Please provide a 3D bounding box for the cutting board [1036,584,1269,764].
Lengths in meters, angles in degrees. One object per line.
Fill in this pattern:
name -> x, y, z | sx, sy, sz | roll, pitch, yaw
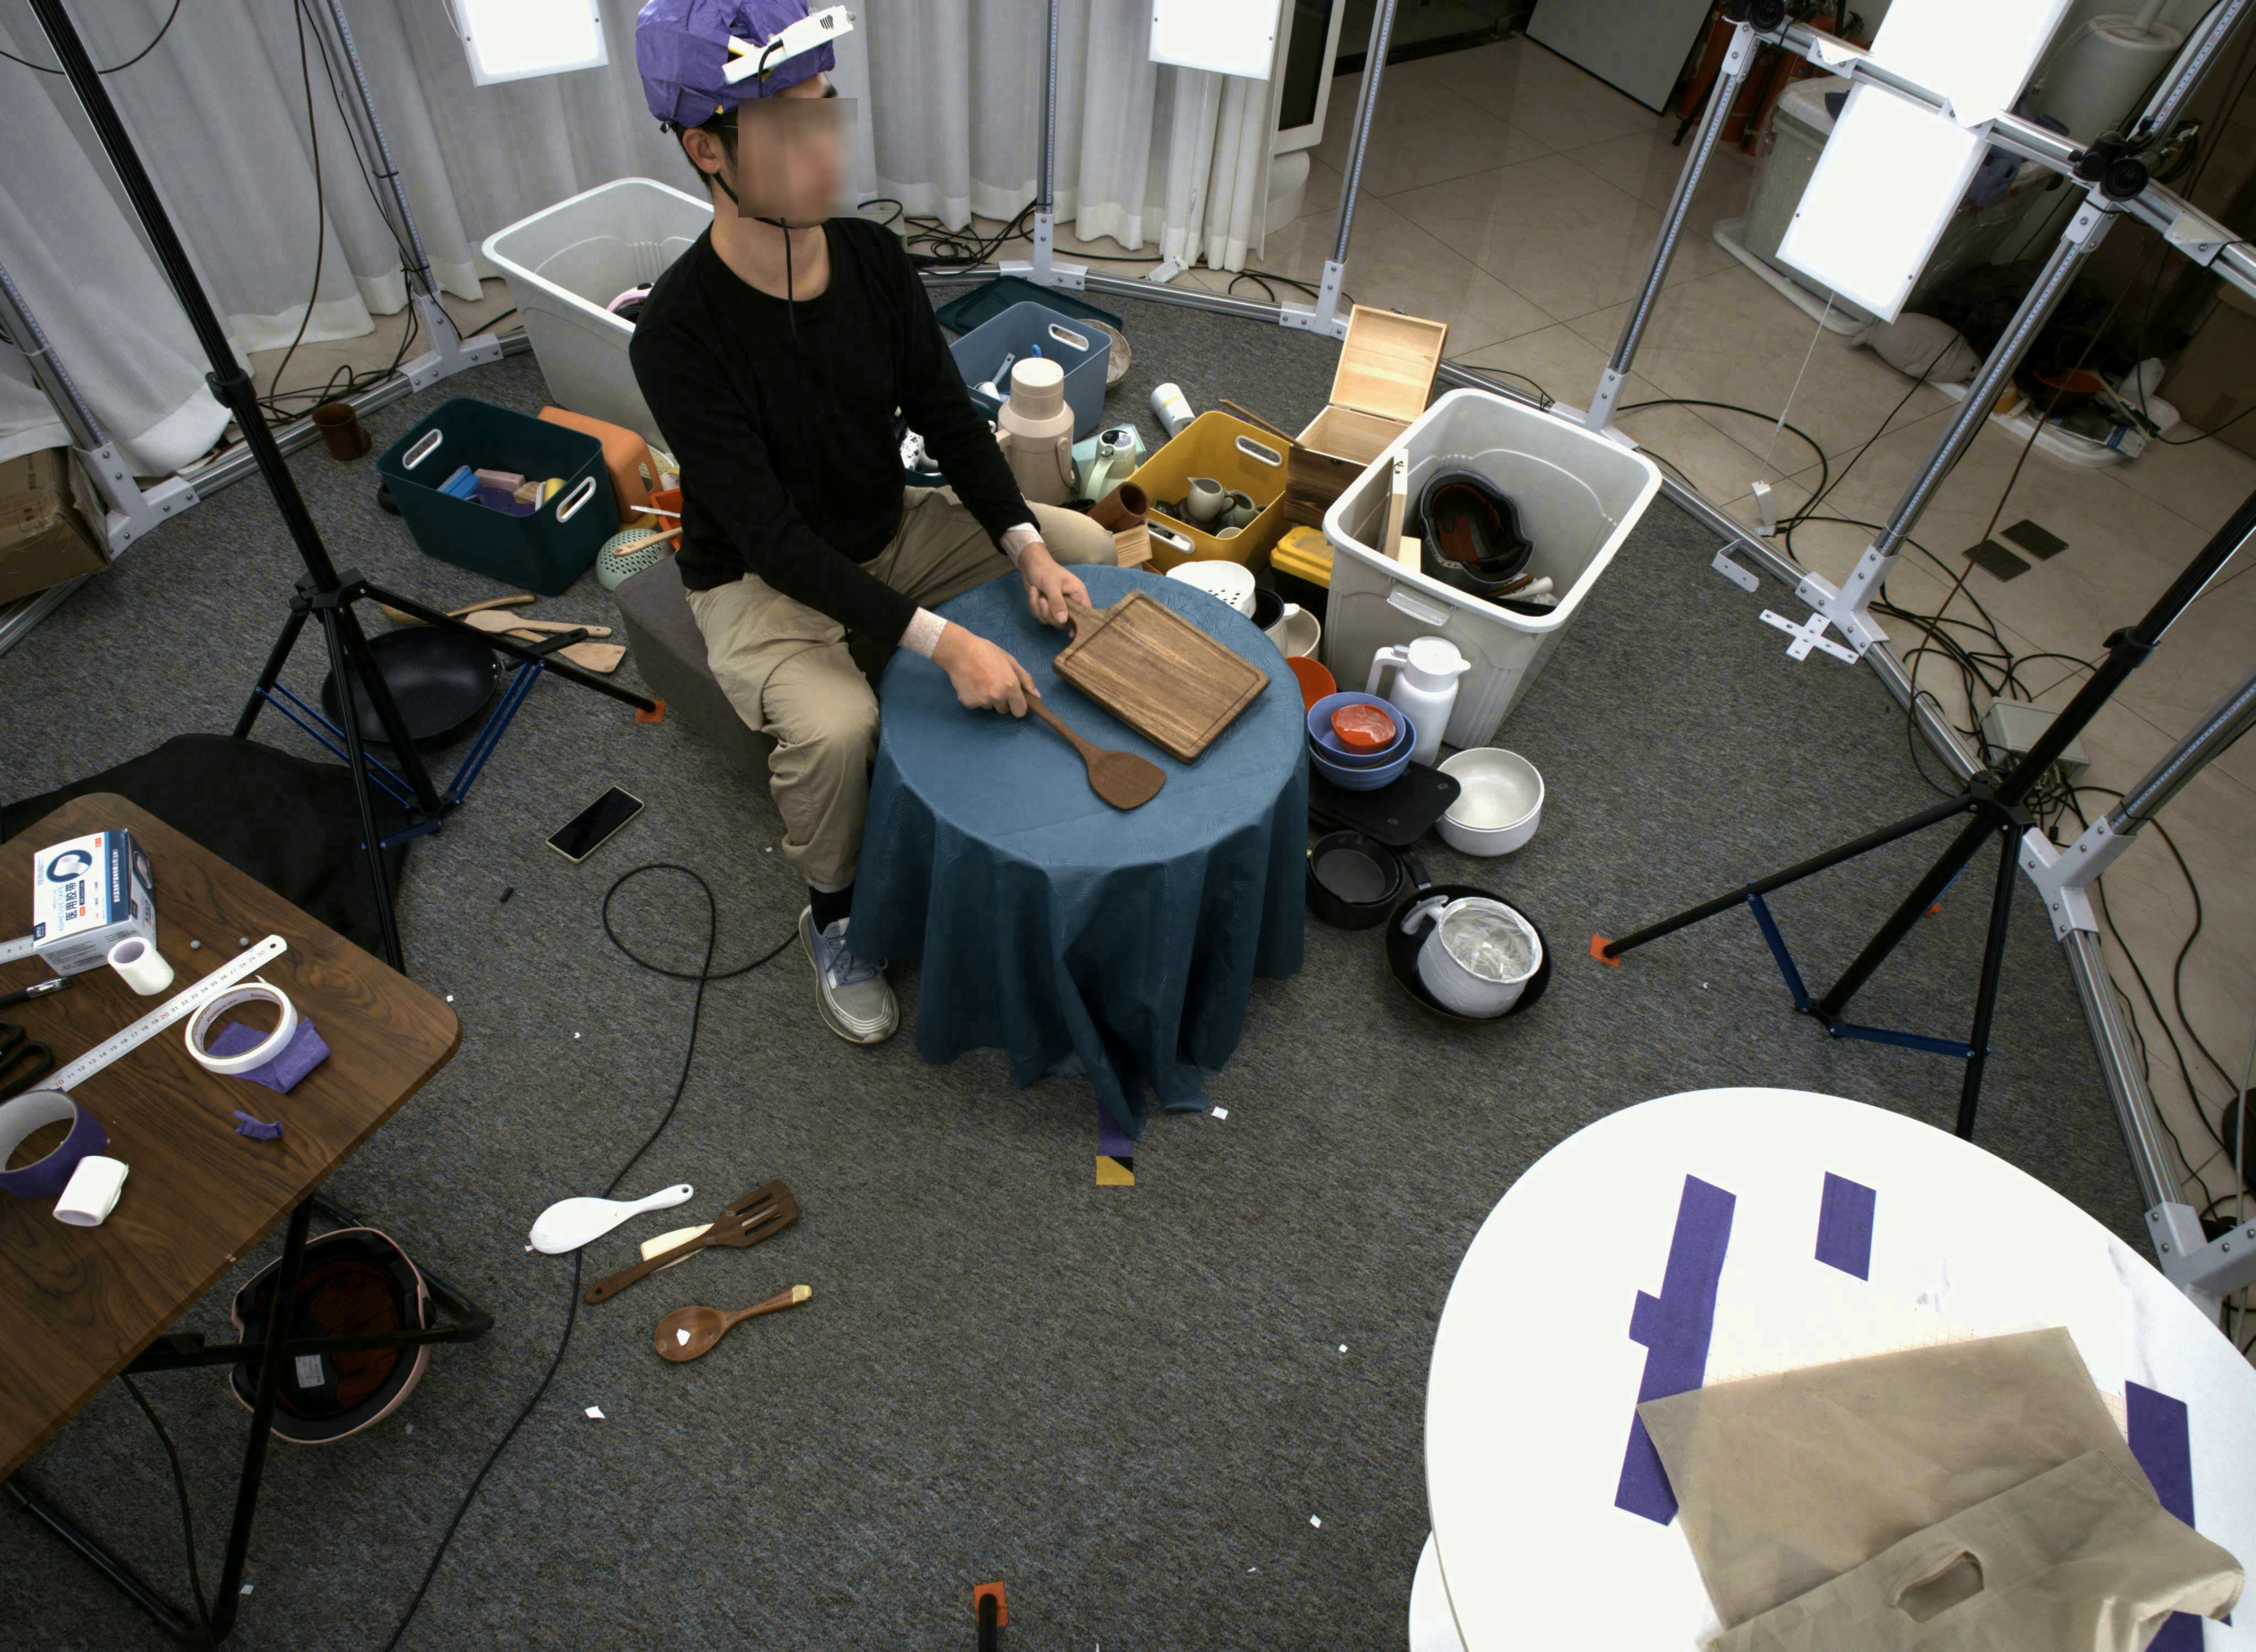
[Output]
cutting board -> 0.009, -0.247, 1.839 | 0.356, 0.023, 0.203 | 36, 60, 17

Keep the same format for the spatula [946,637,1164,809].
spatula -> -0.113, -0.152, 1.767 | 0.390, 0.015, 0.097 | 40, 56, 19
